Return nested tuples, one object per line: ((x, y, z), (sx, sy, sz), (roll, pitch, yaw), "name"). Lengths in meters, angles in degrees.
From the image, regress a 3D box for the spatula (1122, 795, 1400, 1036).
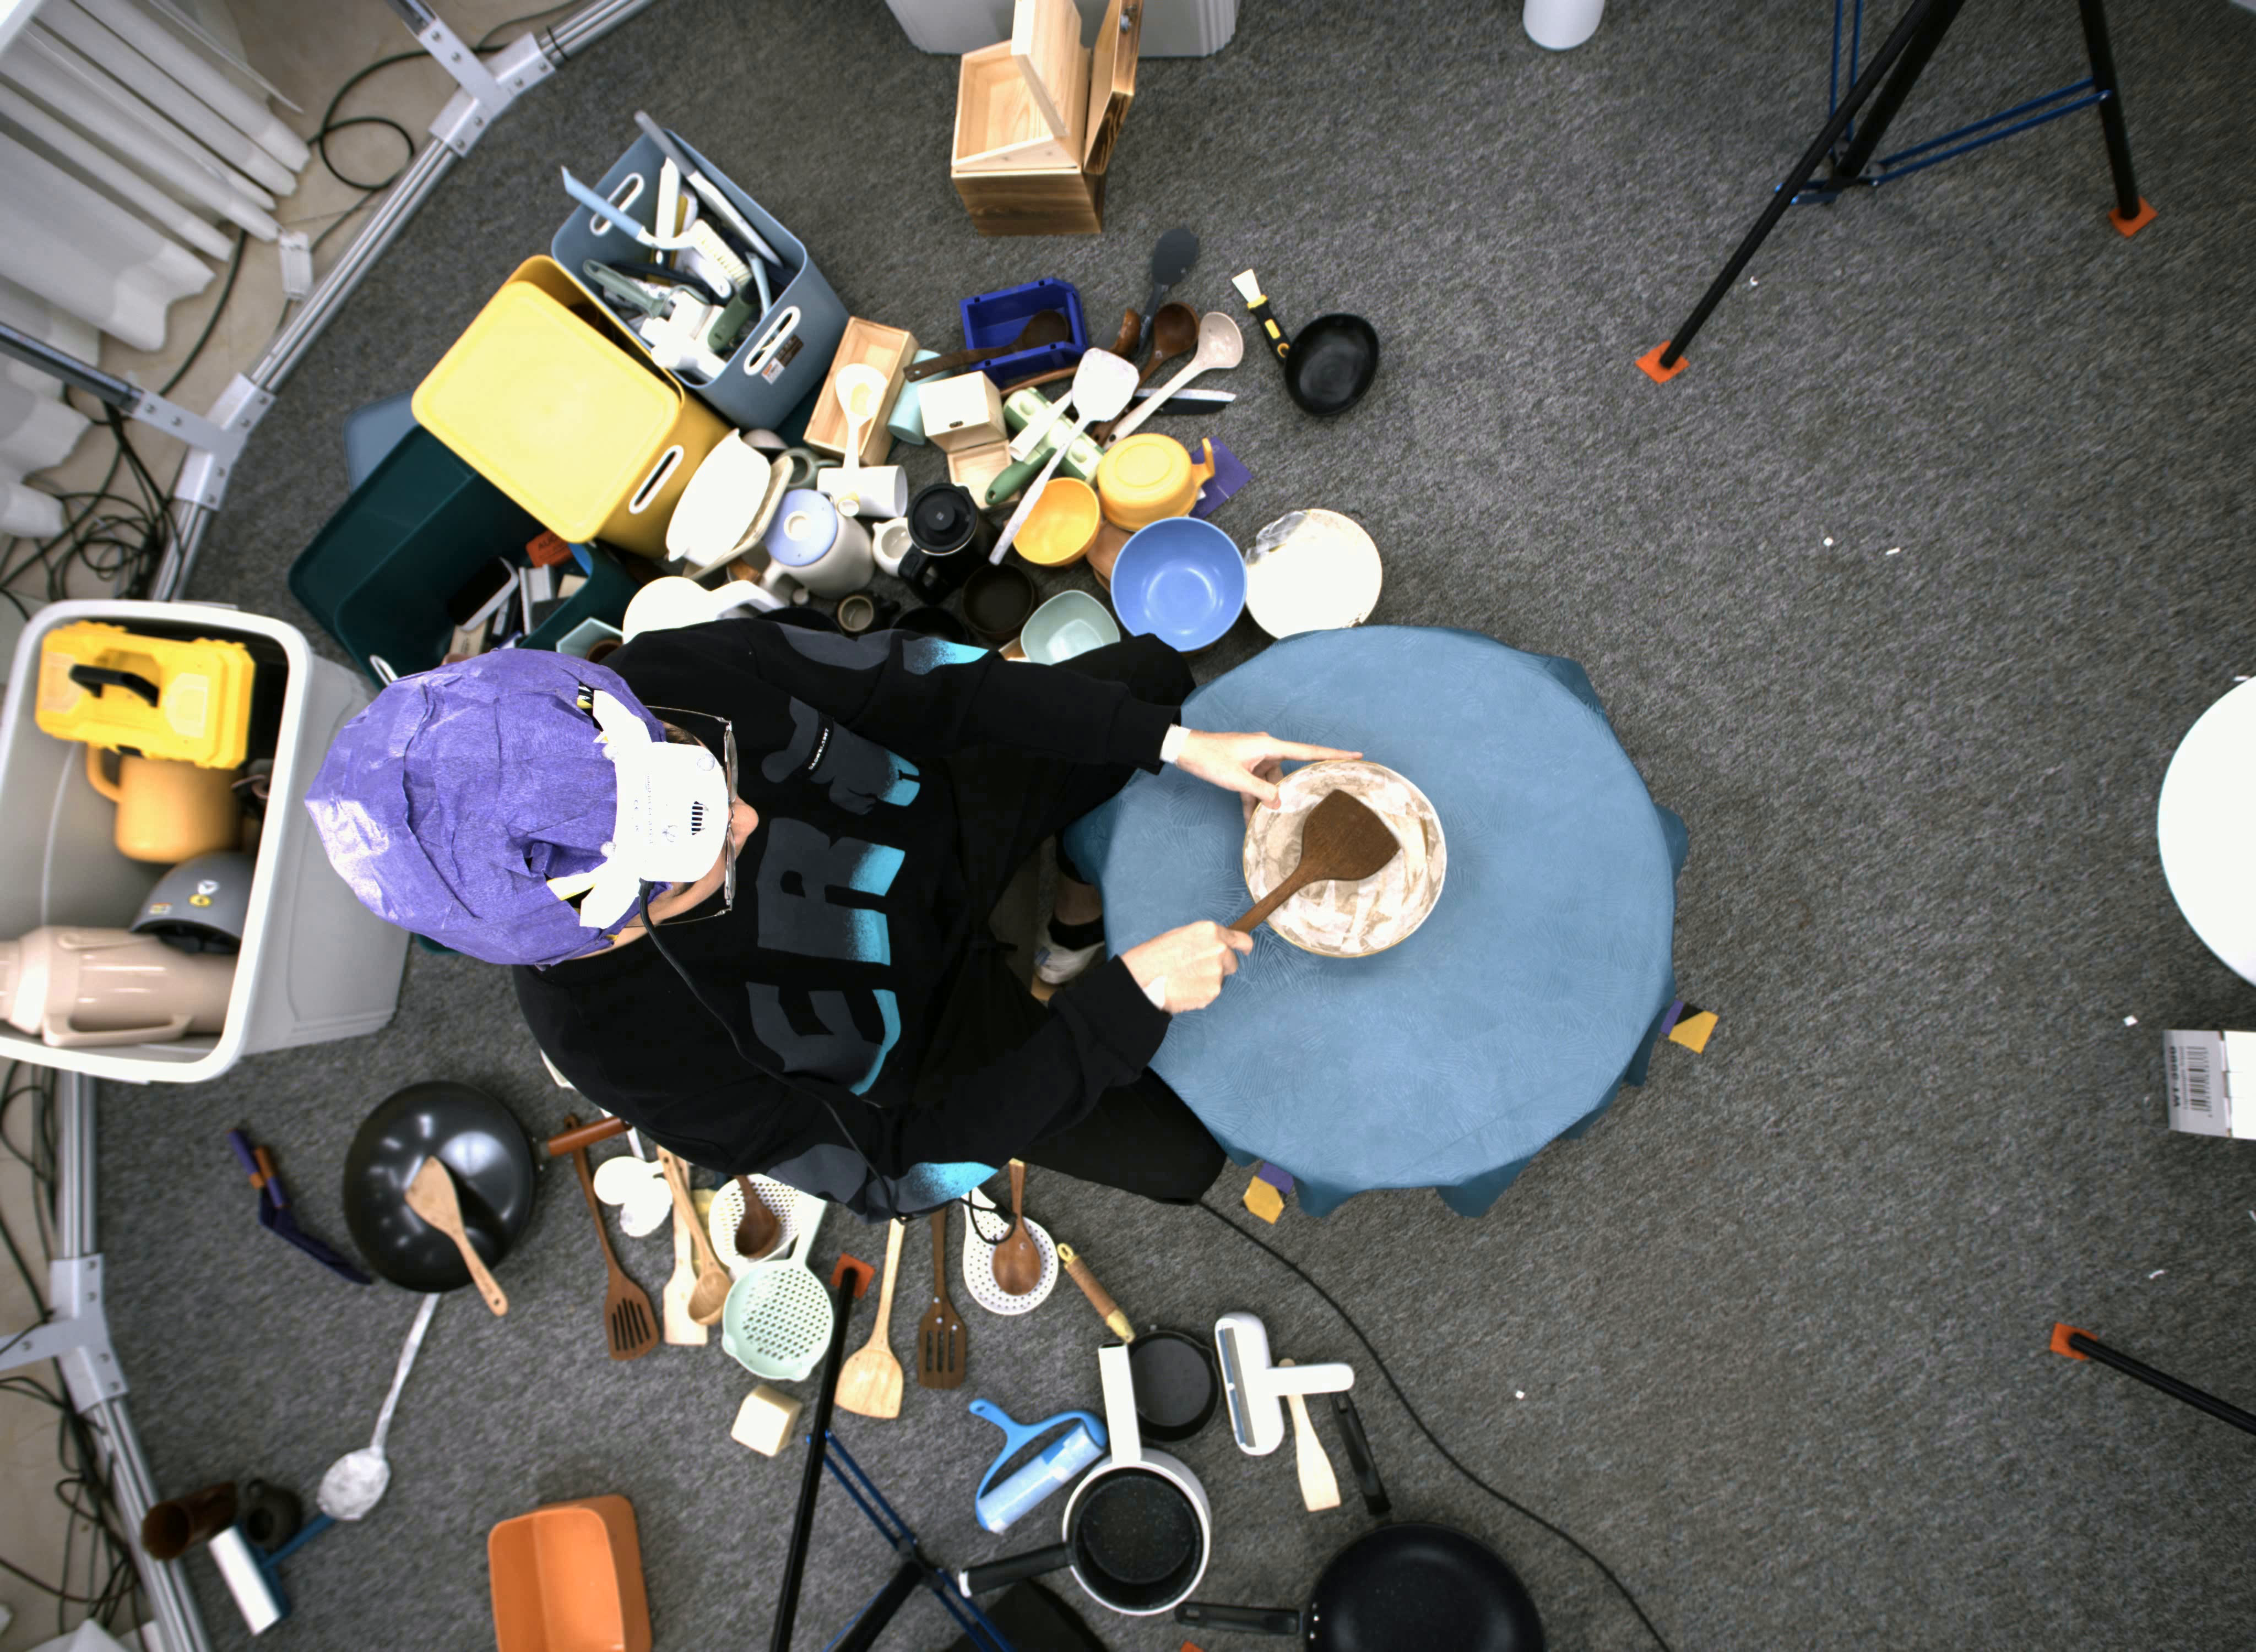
((0.128, 0.087, 1.342), (0.378, 0.016, 0.095), (-36, 76, -32), "spatula")

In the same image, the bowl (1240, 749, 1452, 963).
((0.217, 0.030, 1.411), (0.215, 0.094, 0.215), (0, 95, 1), "bowl")
